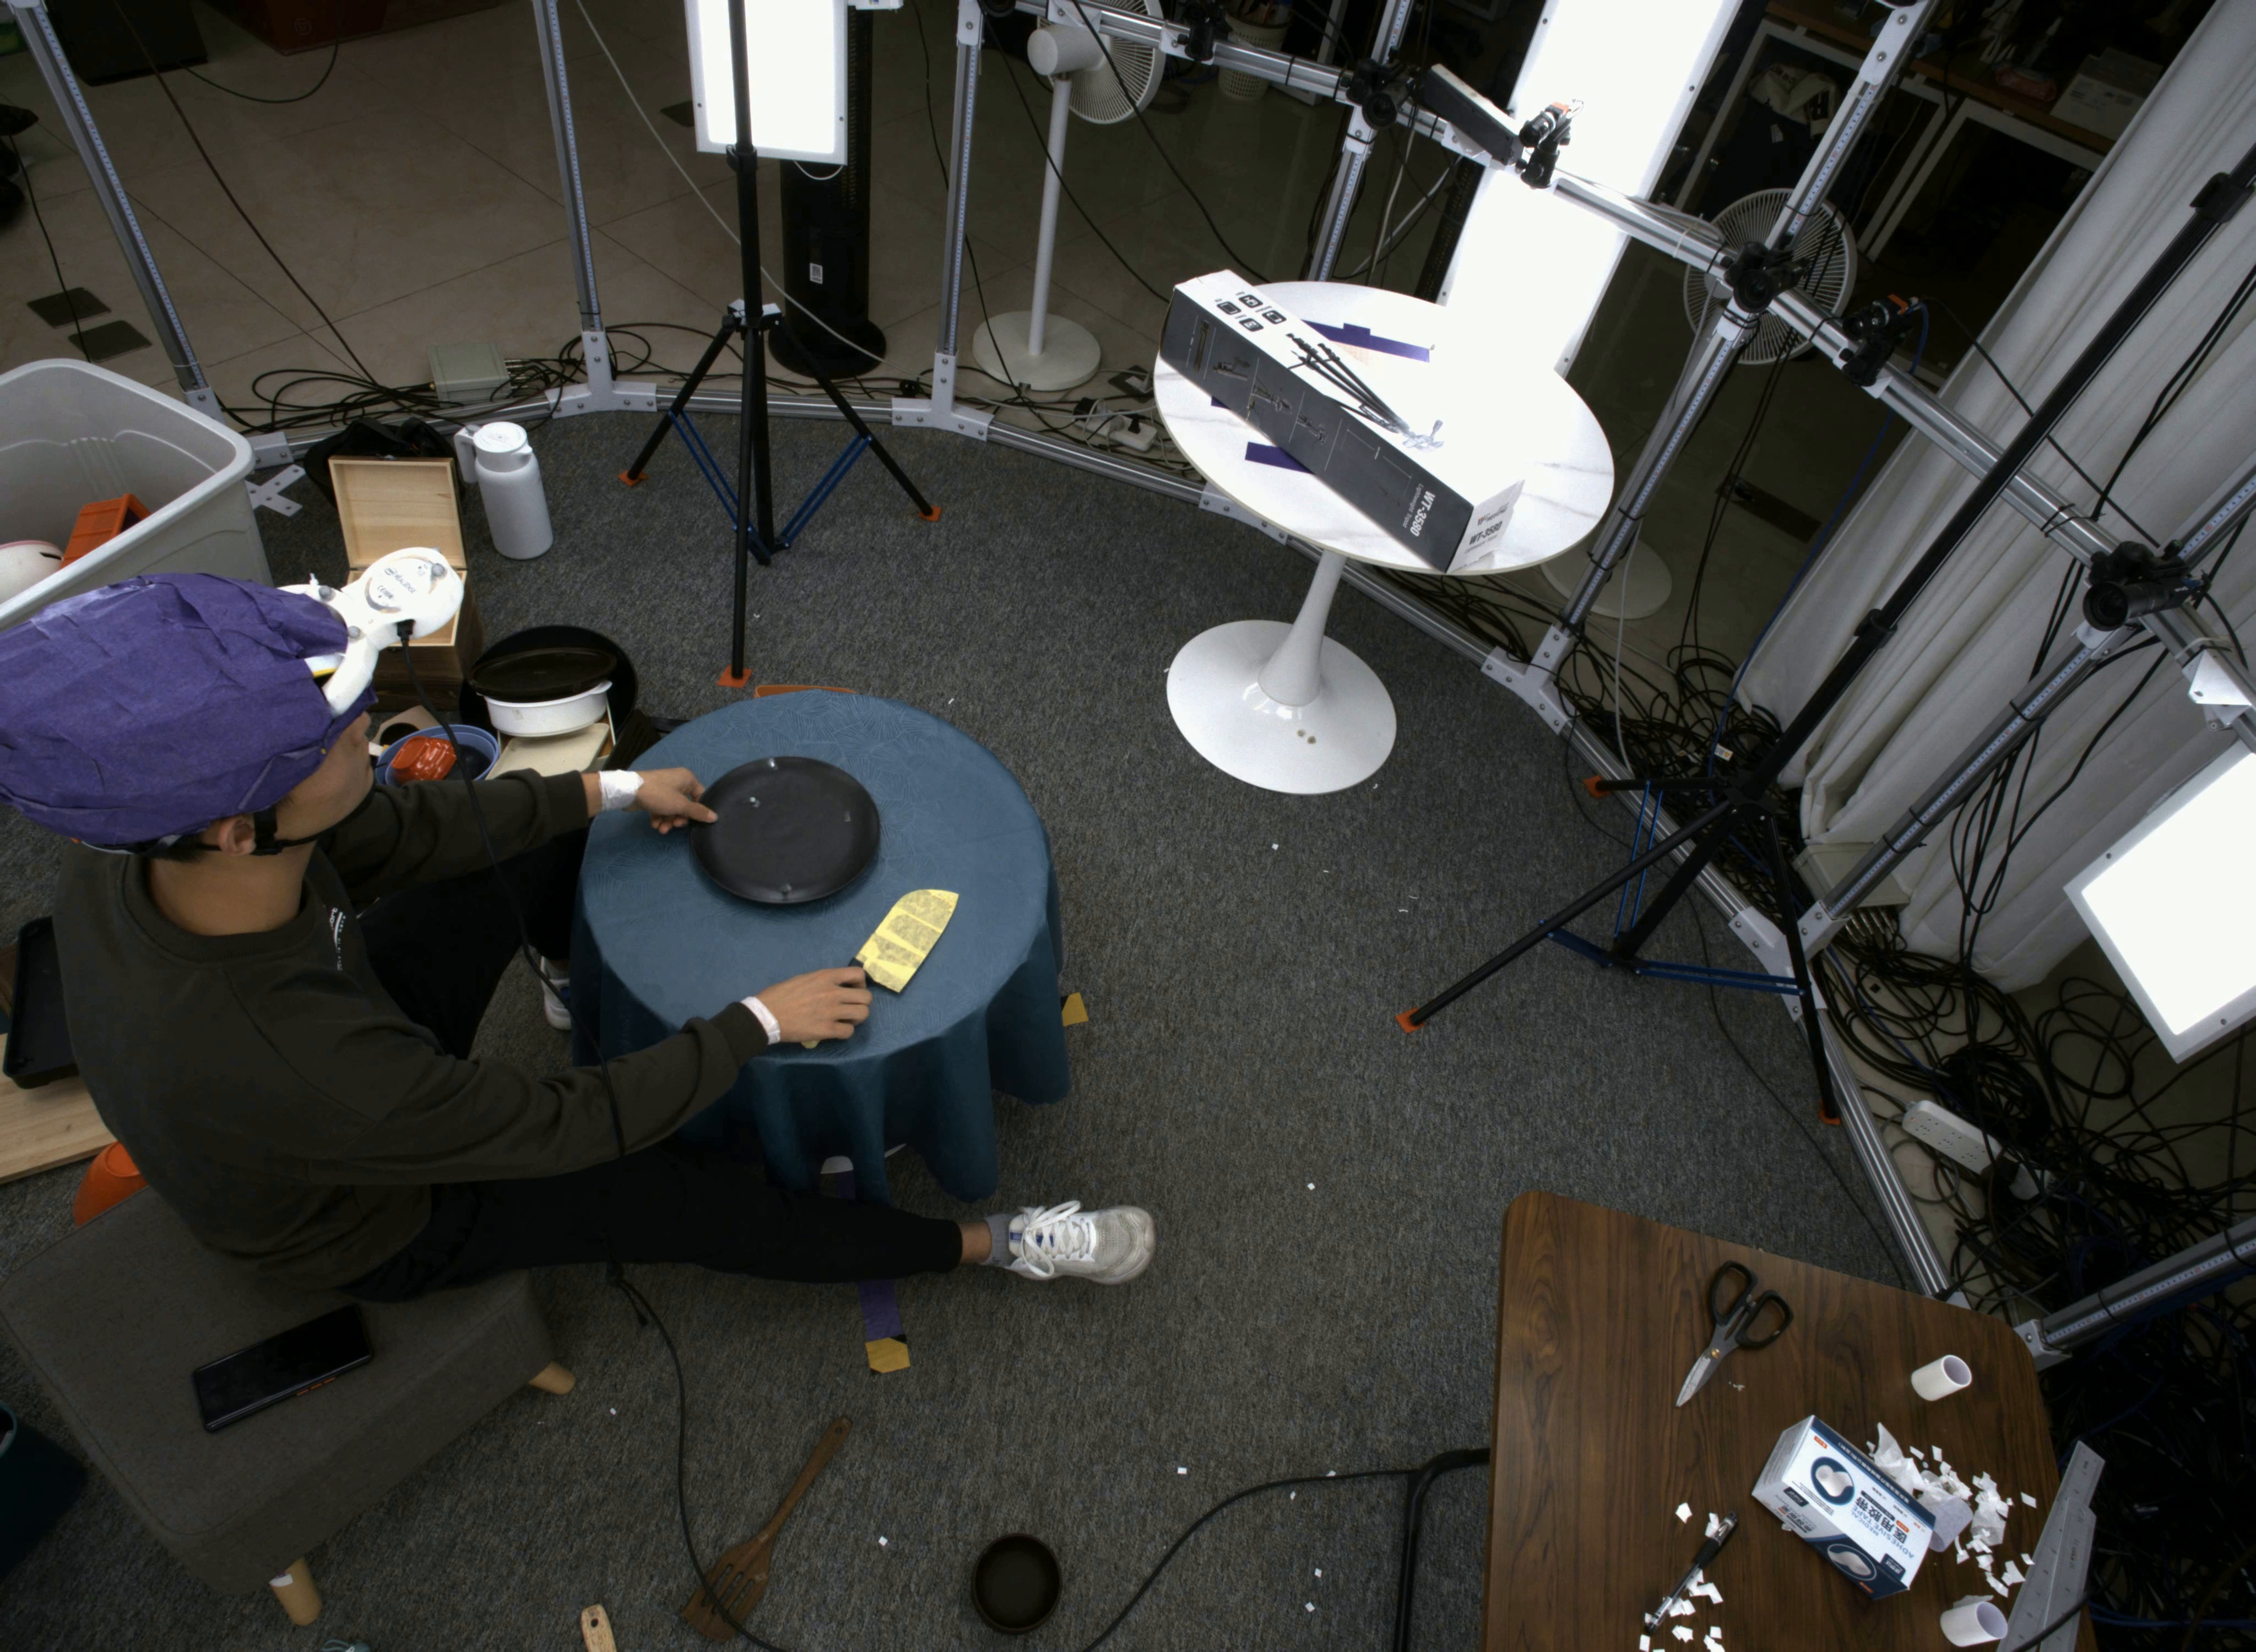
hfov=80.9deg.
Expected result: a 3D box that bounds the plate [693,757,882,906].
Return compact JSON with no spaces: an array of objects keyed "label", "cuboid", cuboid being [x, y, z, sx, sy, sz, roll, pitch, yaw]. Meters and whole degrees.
[{"label":"plate","cuboid":[-0.447,0.007,1.709,0.244,0.024,0.240,8,53,-9]}]

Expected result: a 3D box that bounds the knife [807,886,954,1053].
[{"label":"knife","cuboid":[-0.305,0.173,1.628,0.080,0.028,0.288,28,52,8]}]
